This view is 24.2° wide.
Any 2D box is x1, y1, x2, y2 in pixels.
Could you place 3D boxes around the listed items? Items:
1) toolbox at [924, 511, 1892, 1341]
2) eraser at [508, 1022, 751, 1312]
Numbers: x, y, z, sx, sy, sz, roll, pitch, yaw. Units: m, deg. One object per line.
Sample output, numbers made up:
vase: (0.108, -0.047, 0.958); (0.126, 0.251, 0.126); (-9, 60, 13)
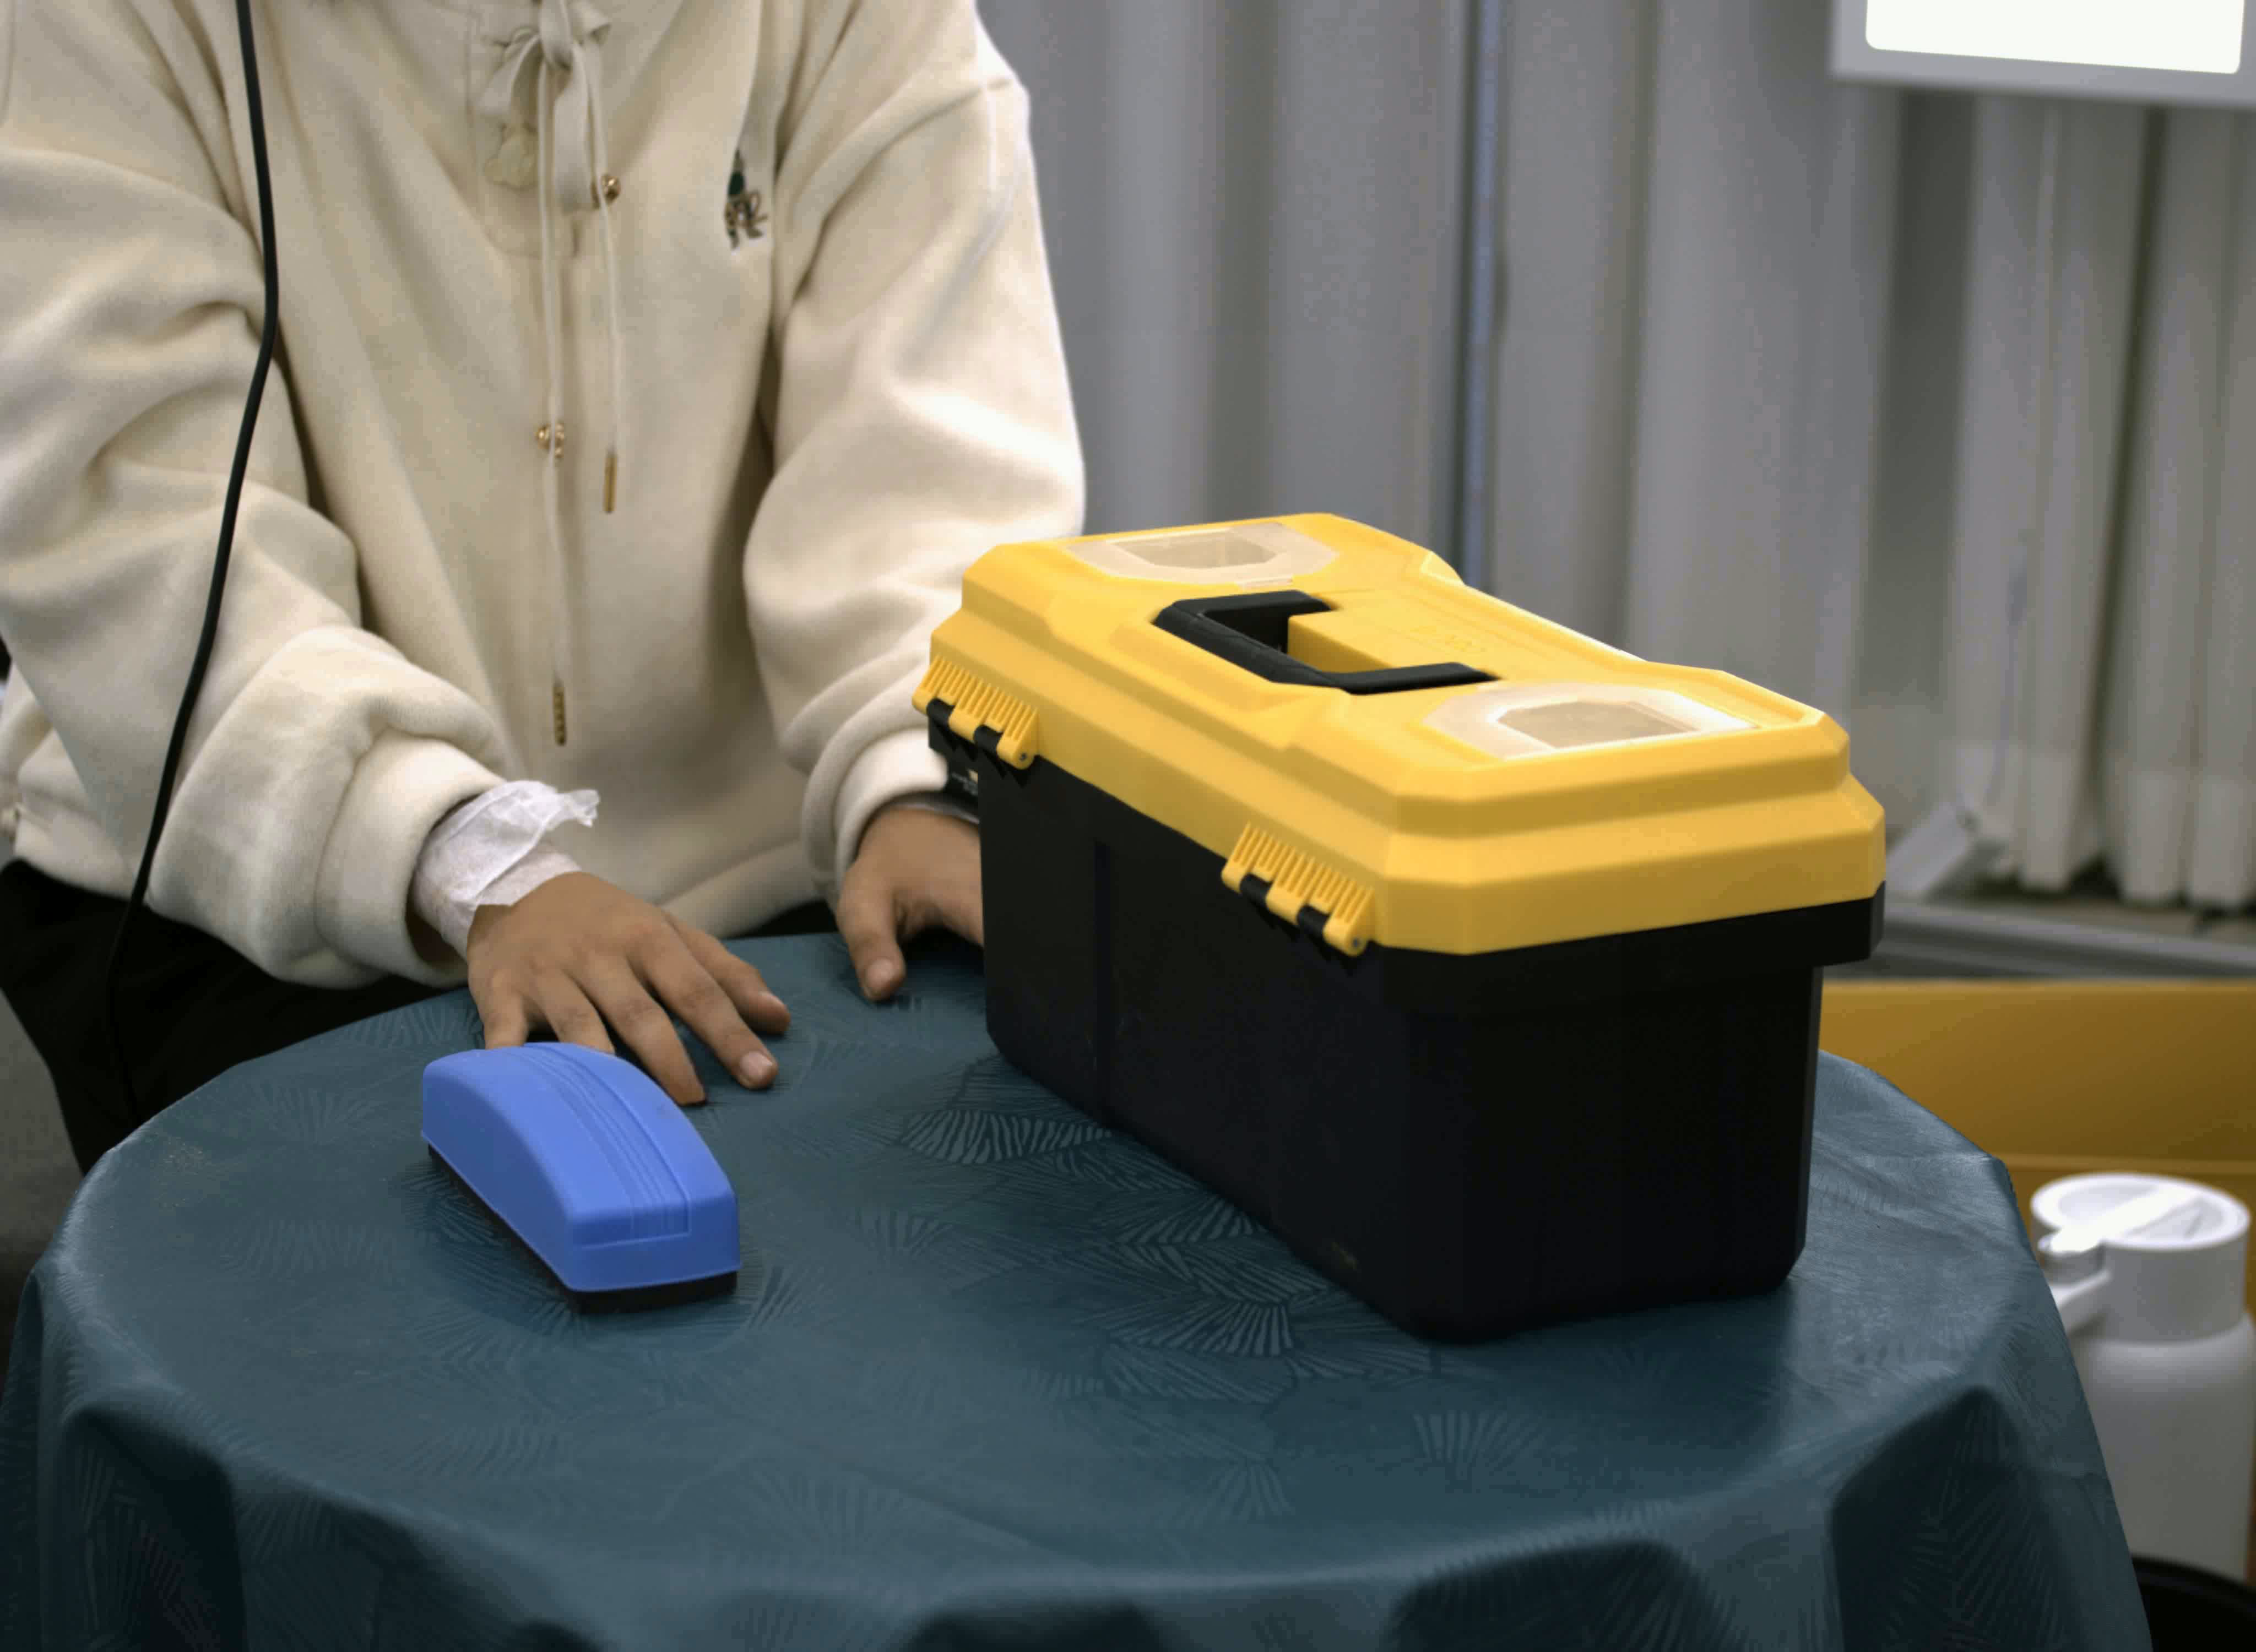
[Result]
toolbox: (0.077, 0.022, 1.626); (0.182, 0.174, 0.347); (-8, 18, -24)
eraser: (-0.152, 0.095, 1.580); (0.054, 0.048, 0.160); (-5, 19, -13)
